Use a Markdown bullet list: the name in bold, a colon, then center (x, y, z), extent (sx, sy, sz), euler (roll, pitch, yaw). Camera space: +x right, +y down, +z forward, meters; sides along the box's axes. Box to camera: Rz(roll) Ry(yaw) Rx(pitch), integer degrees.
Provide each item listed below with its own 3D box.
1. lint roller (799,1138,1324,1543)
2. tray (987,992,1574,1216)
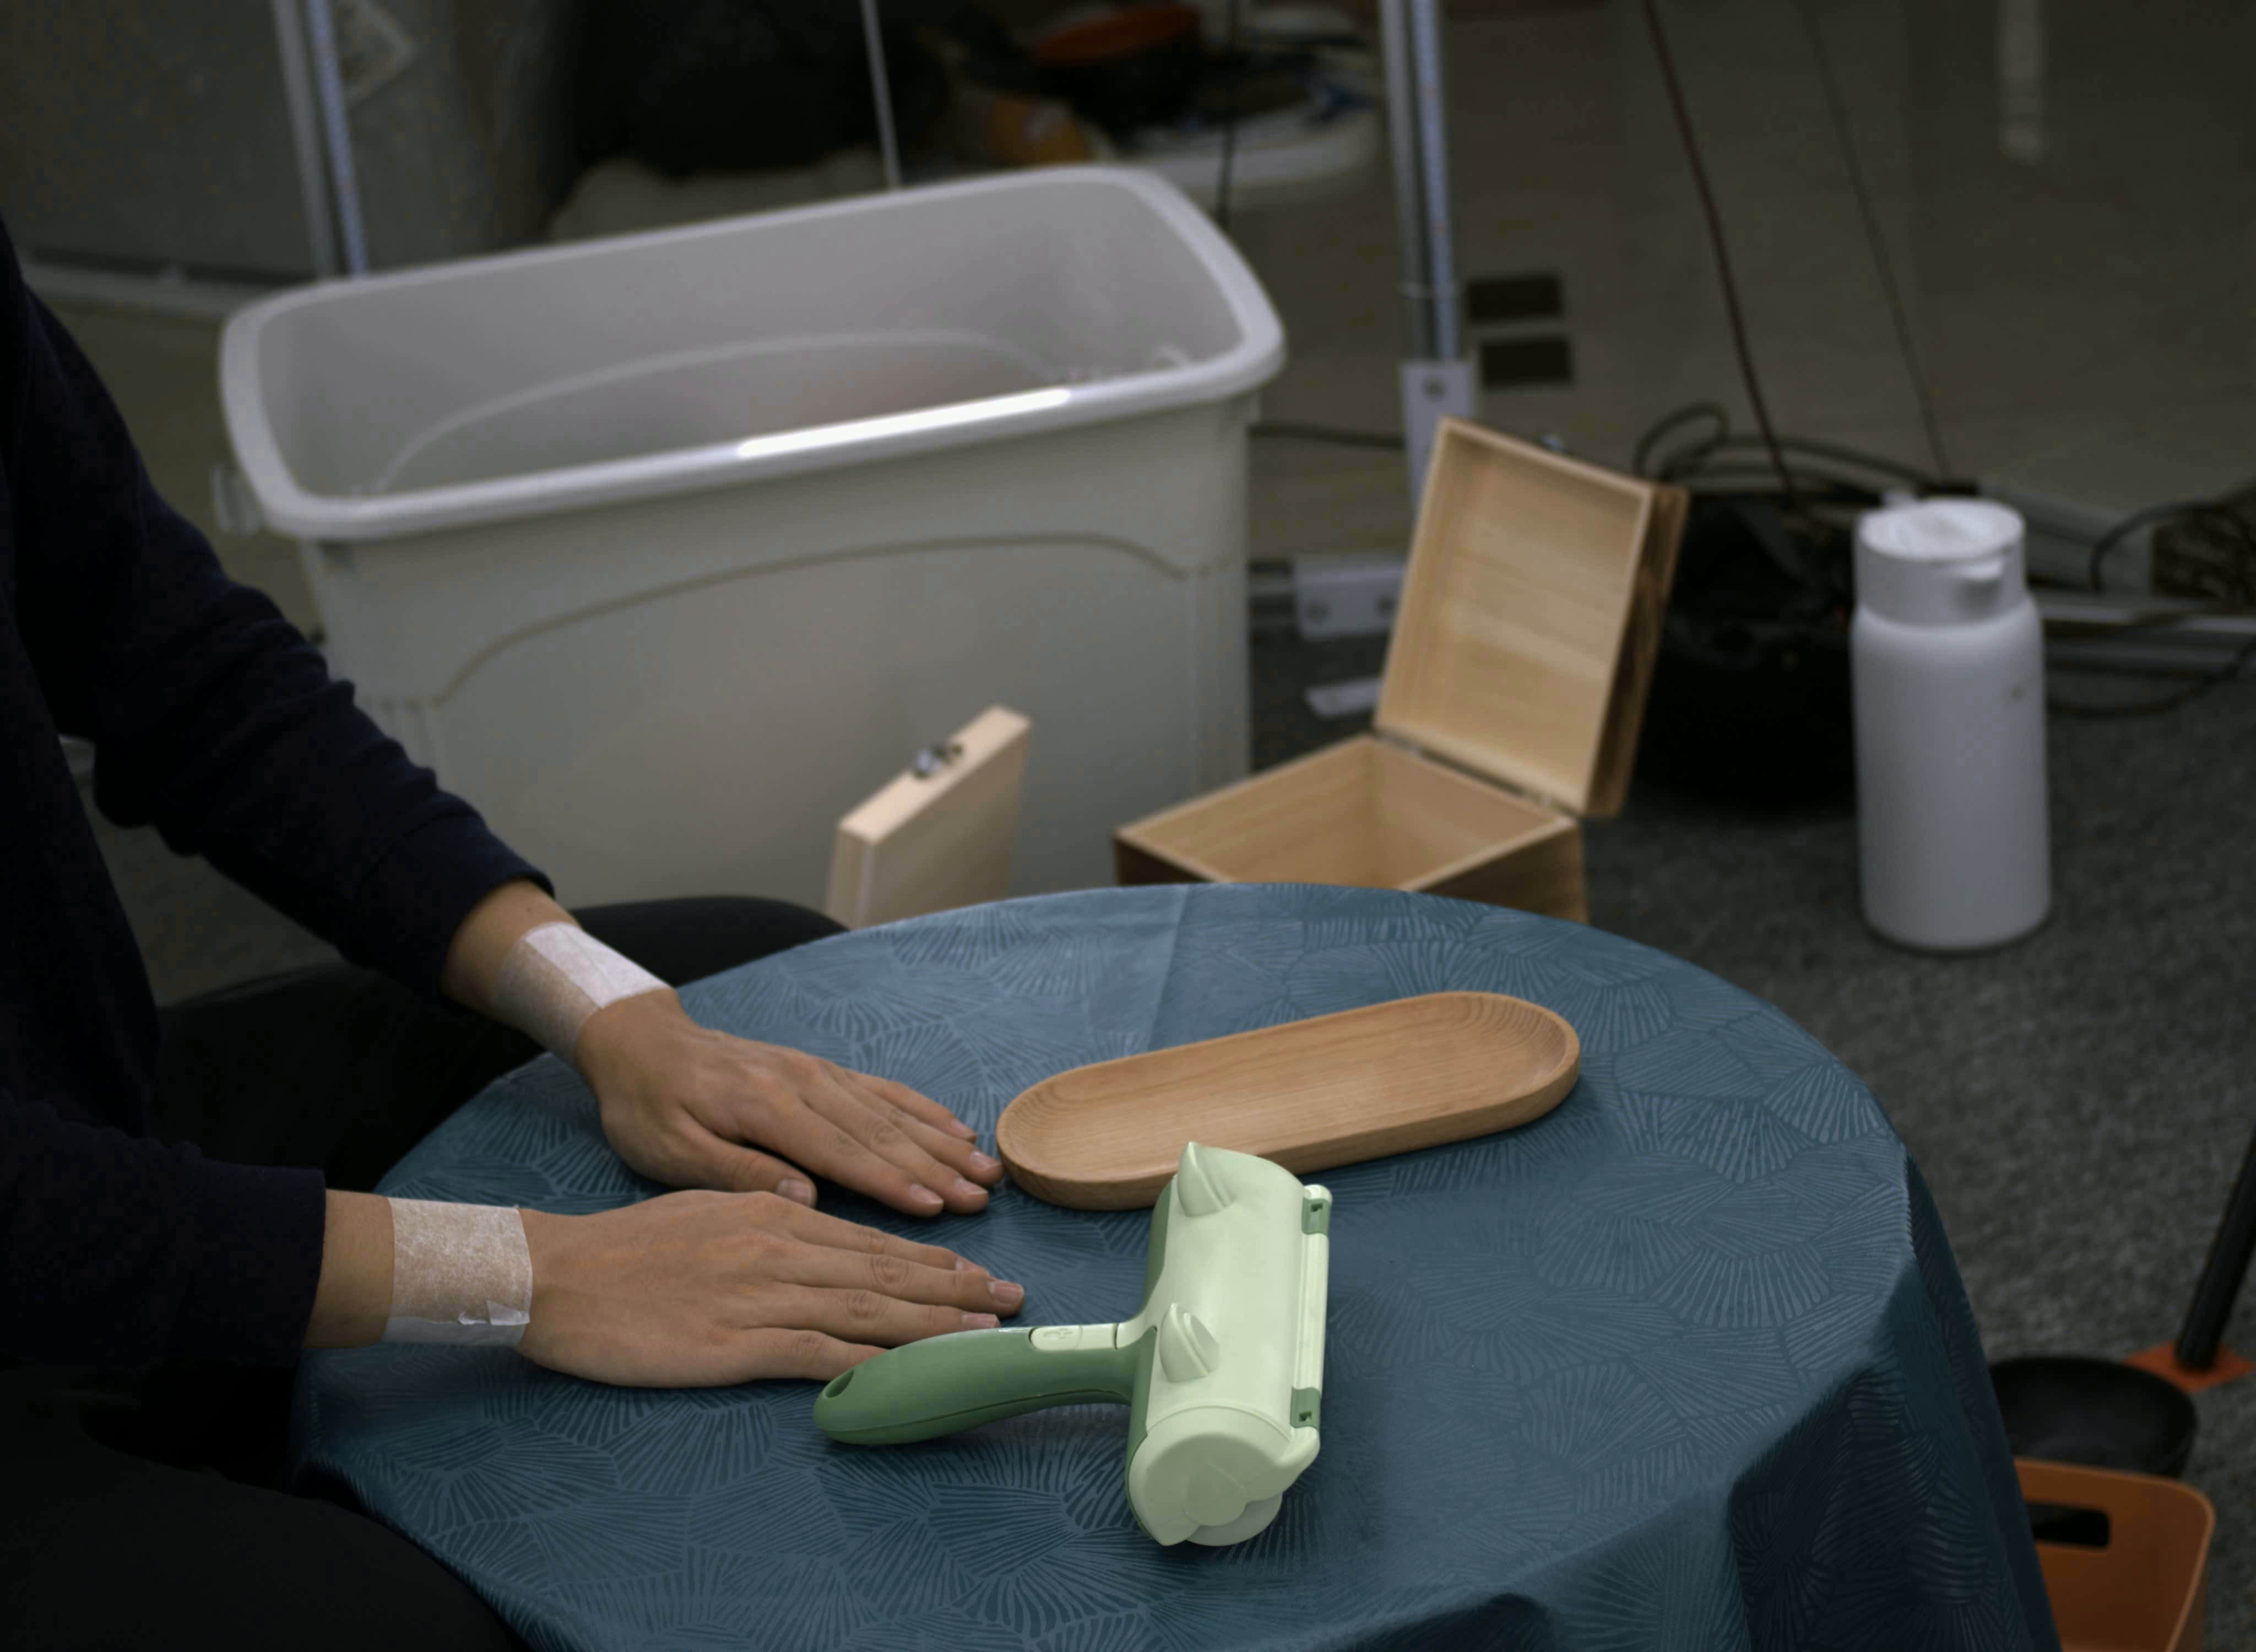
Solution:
- **lint roller**: center (-0.024, 0.172, 1.978), extent (0.183, 0.083, 0.196), euler (1, 25, 2)
- **tray**: center (0.059, 0.107, 2.181), extent (0.230, 0.020, 0.100), euler (-13, 25, -10)
